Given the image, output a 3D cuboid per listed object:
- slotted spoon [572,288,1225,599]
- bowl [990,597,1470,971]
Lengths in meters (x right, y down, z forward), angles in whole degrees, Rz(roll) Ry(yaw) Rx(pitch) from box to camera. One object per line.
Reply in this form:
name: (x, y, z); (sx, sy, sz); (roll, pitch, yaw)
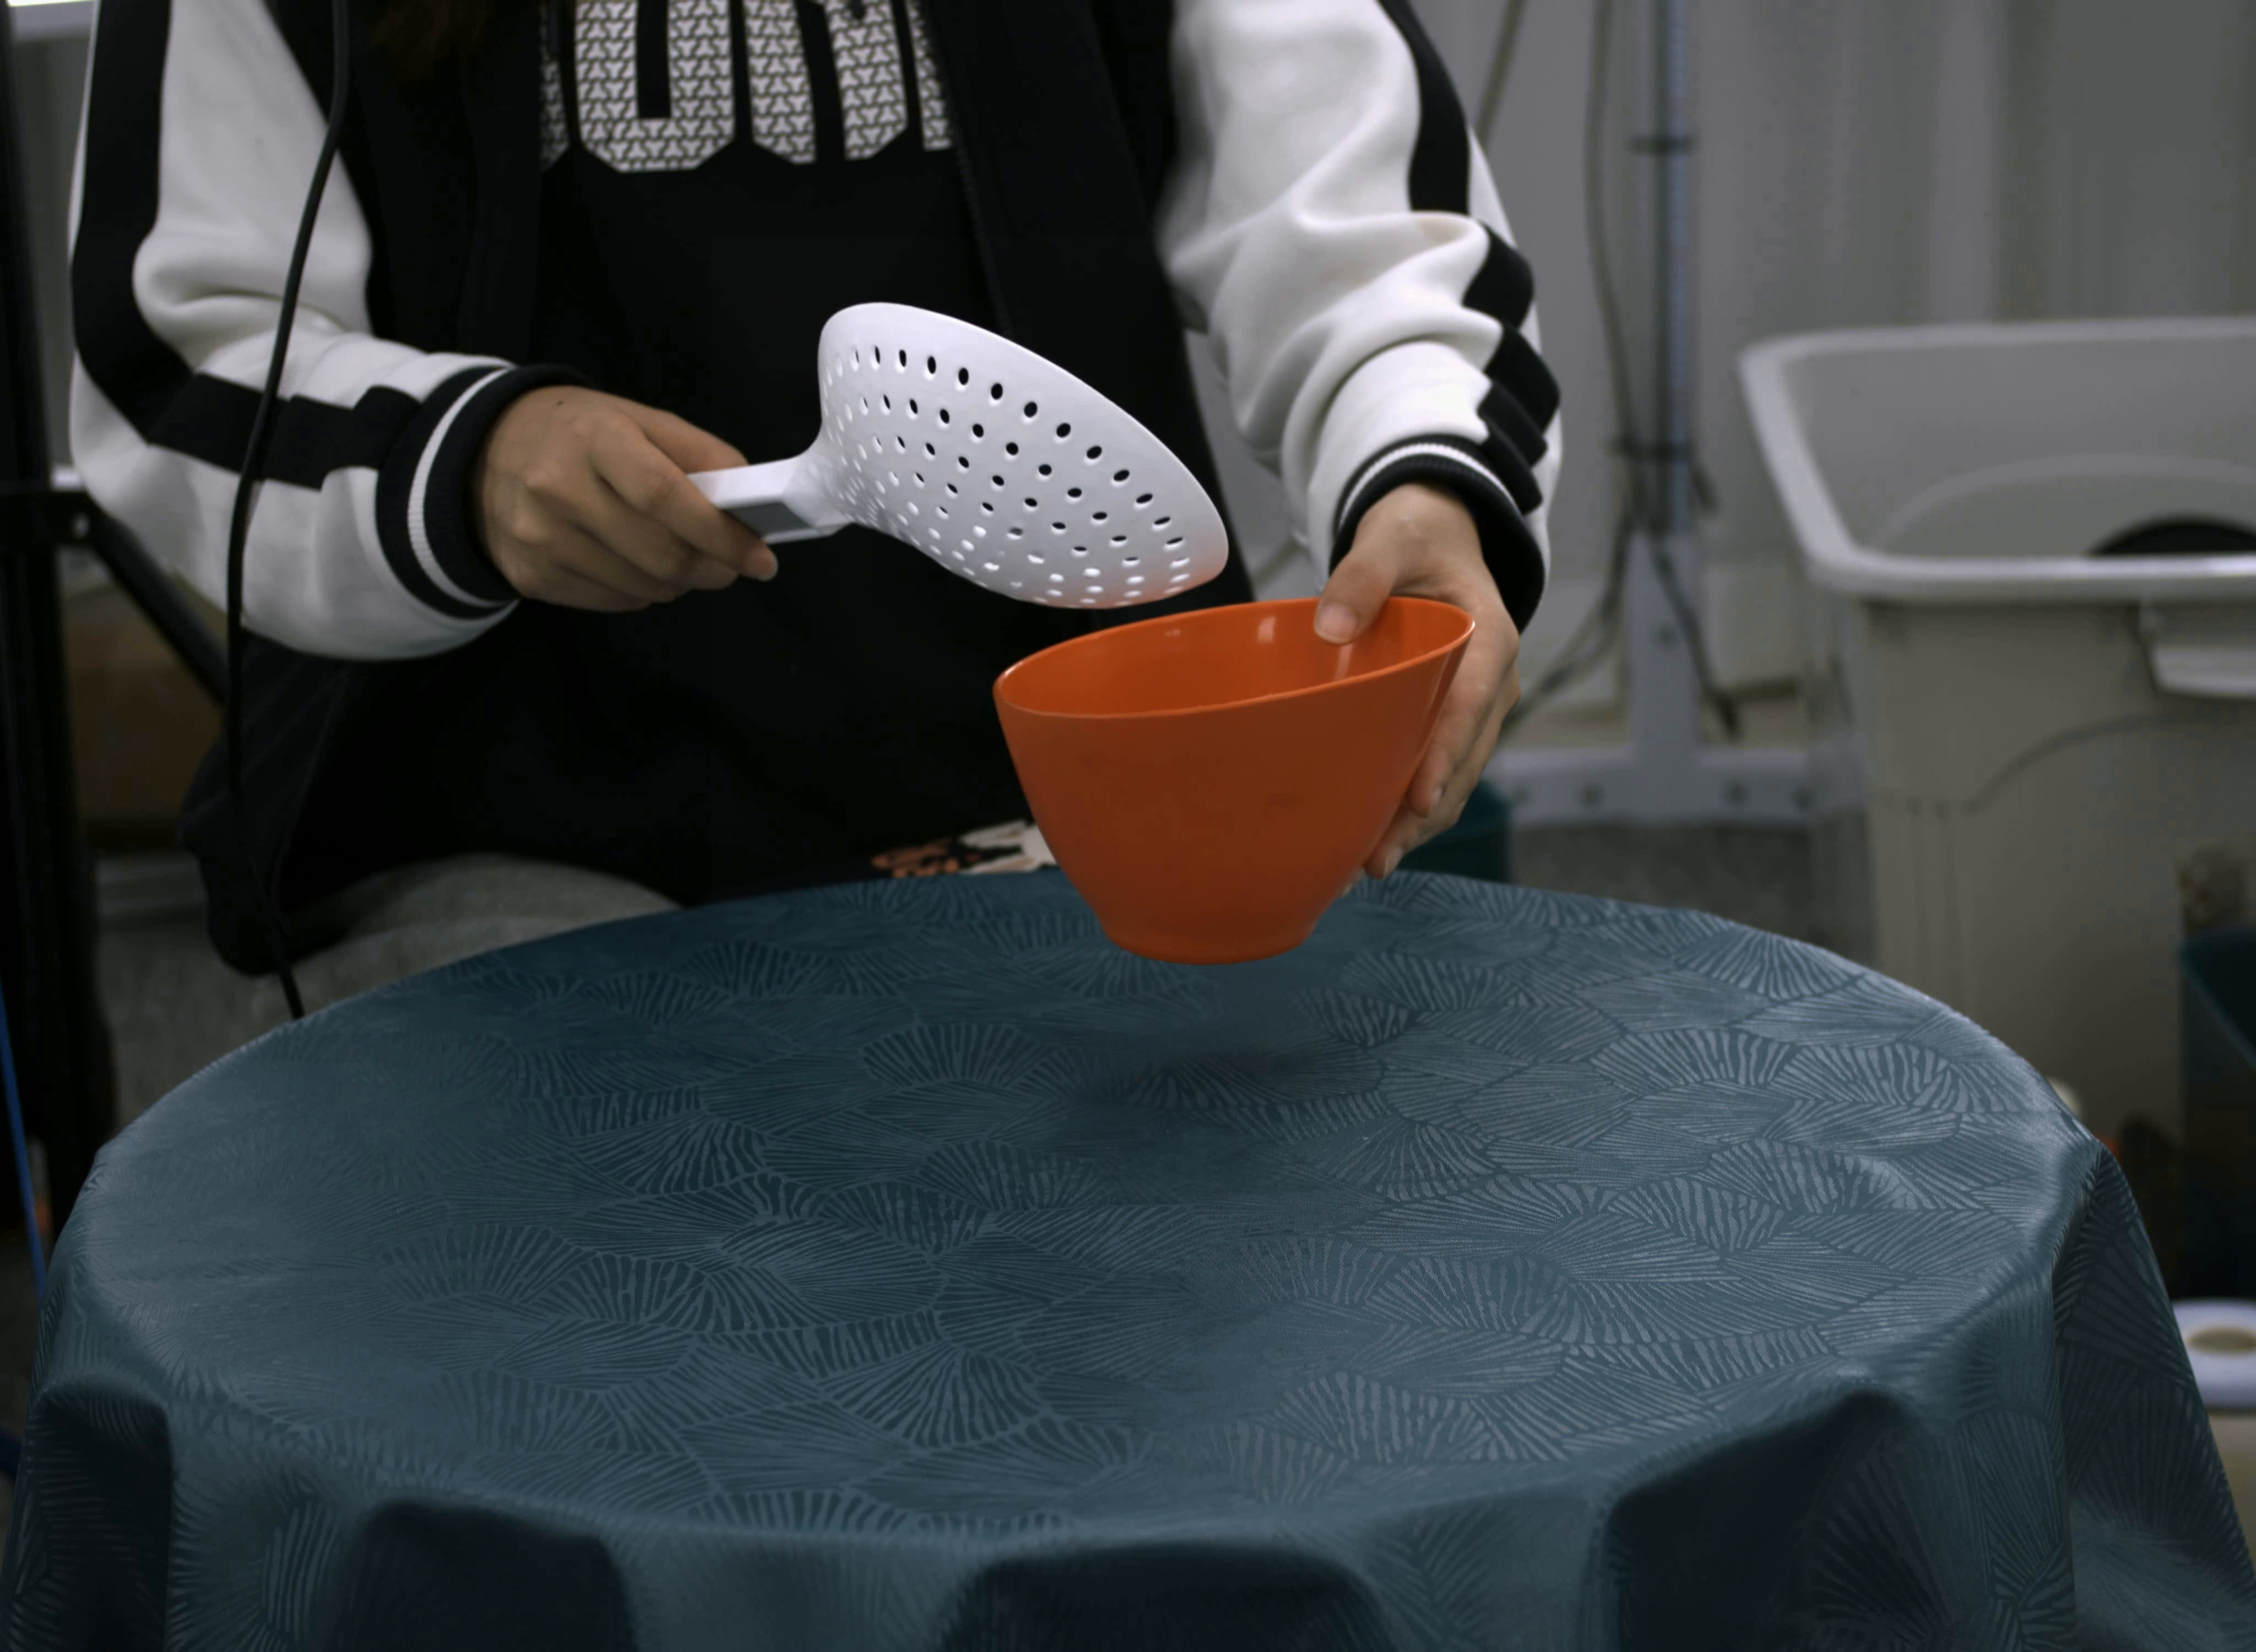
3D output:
slotted spoon: (-0.090, -0.105, 1.651); (0.045, 0.133, 0.356); (-56, 24, -14)
bowl: (0.032, -0.012, 1.631); (0.147, 0.104, 0.149); (-3, 20, 0)
